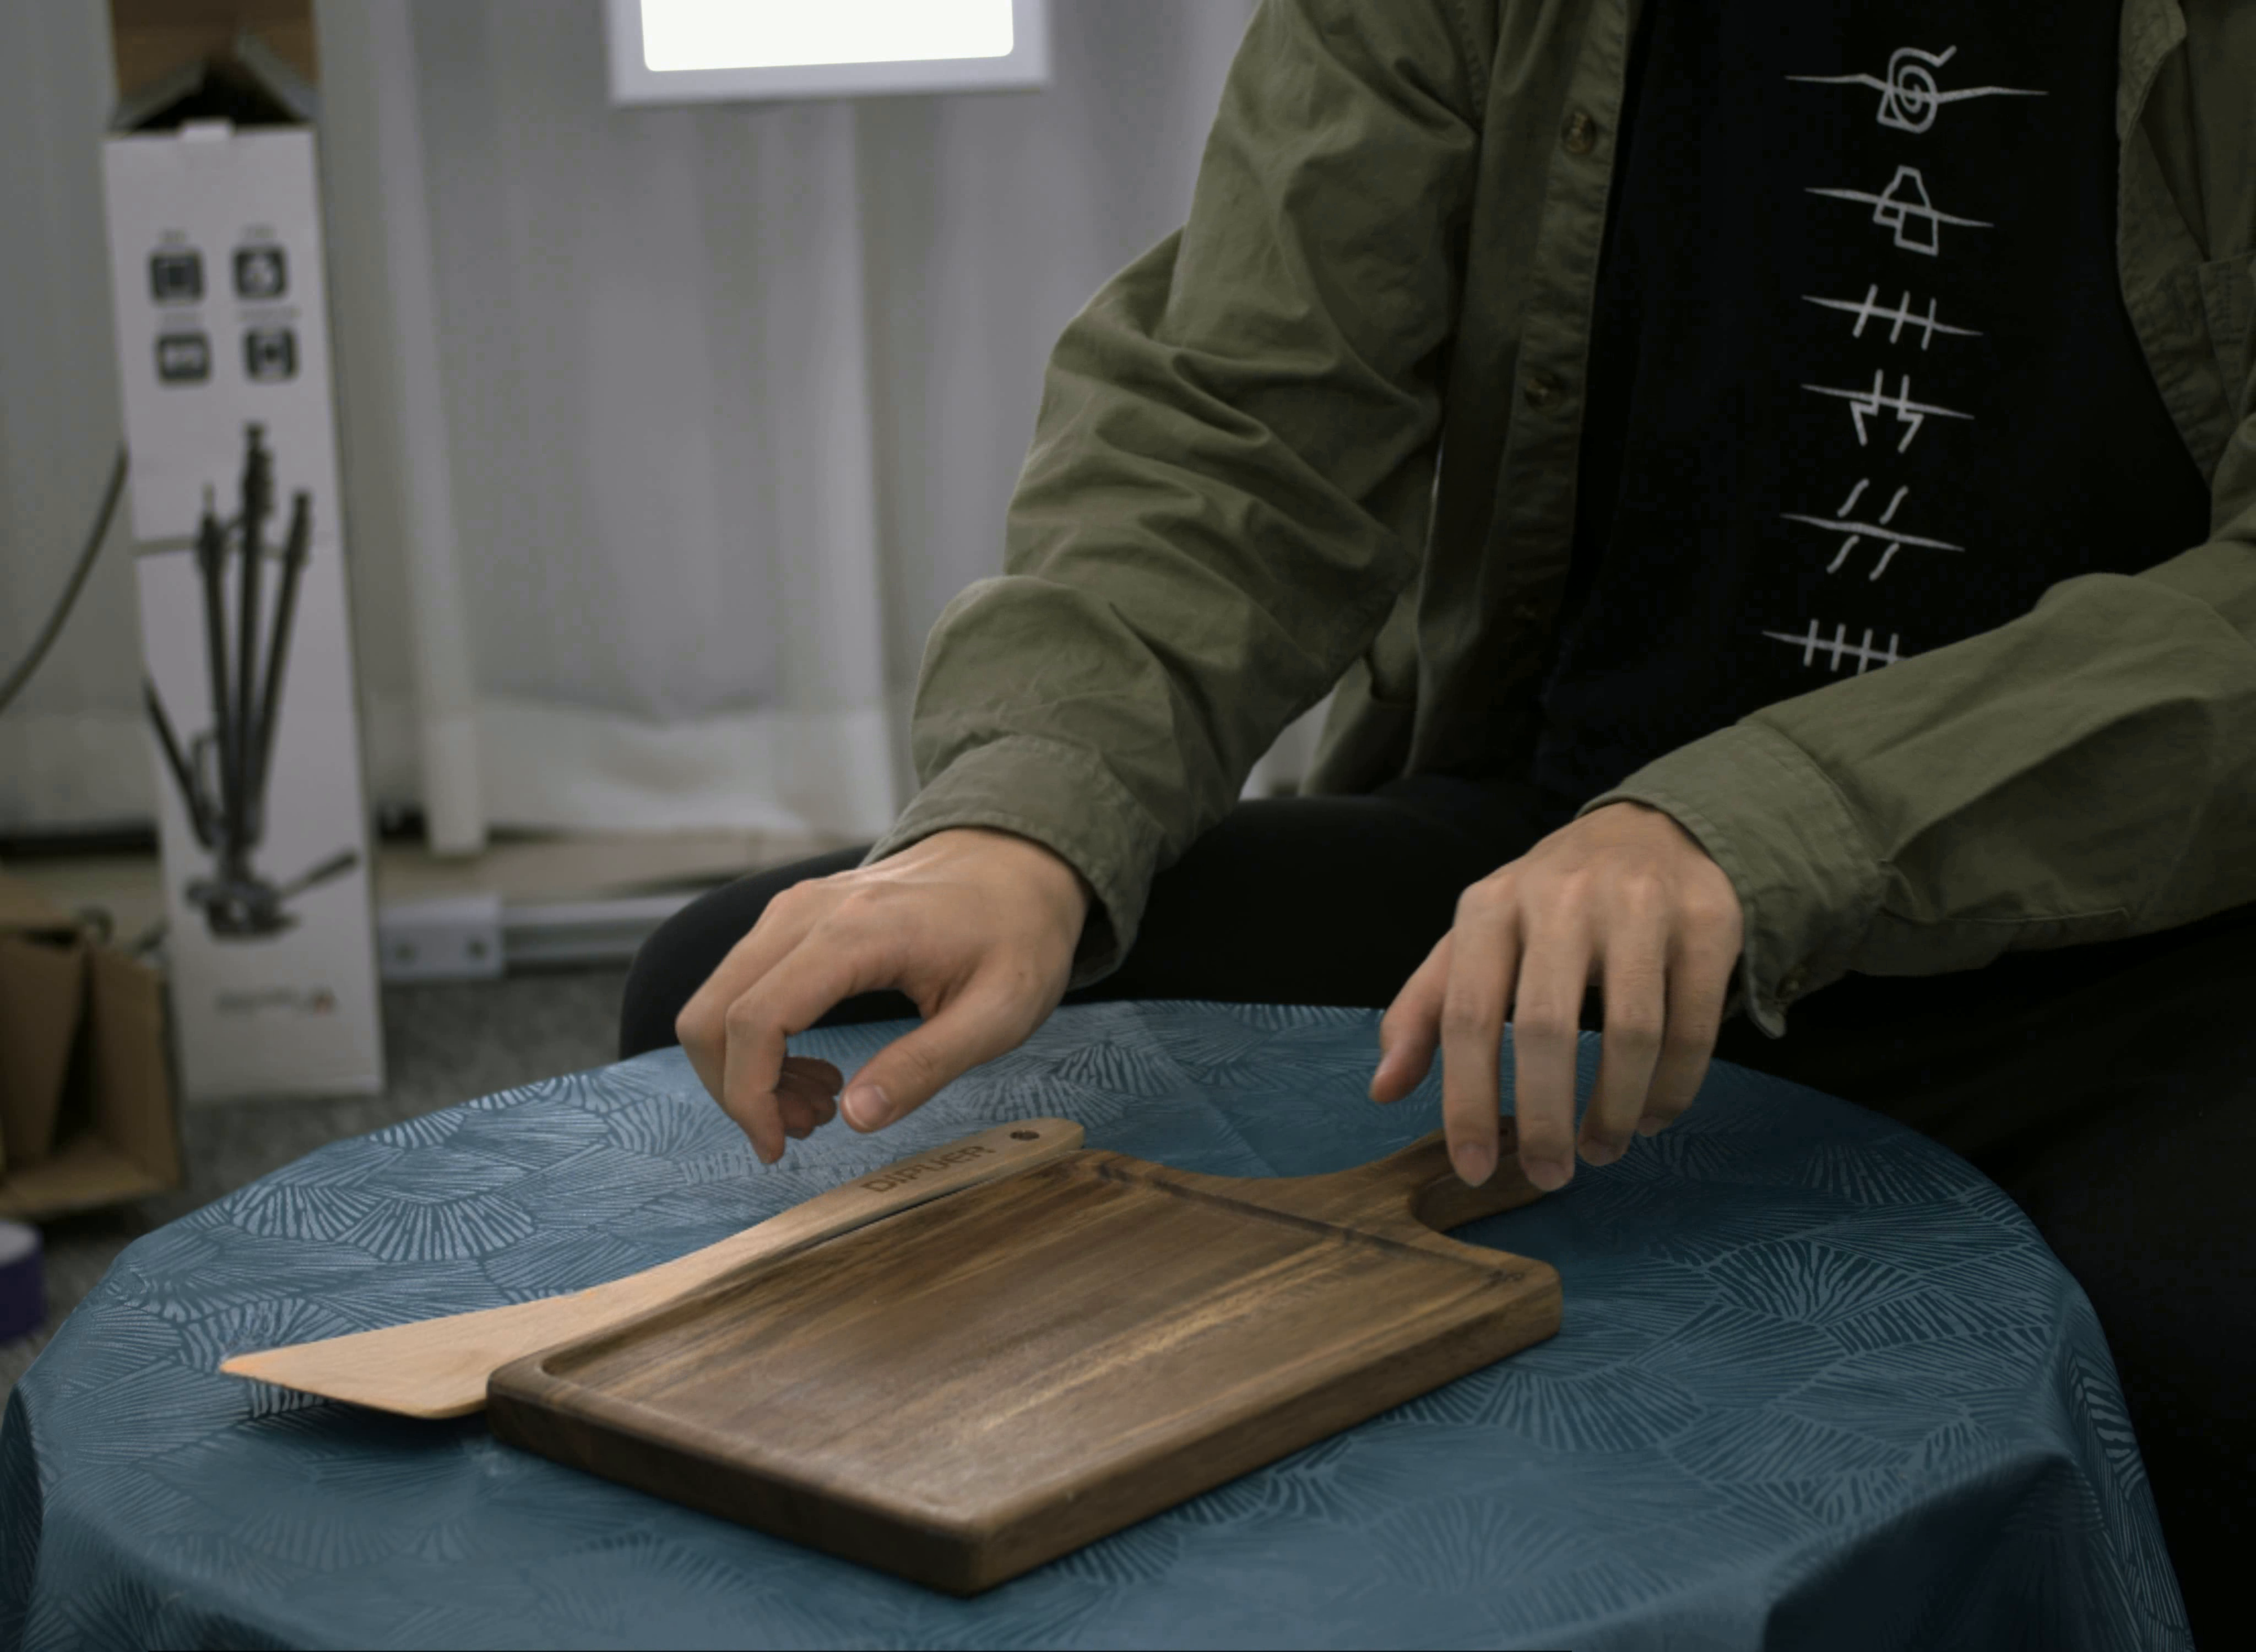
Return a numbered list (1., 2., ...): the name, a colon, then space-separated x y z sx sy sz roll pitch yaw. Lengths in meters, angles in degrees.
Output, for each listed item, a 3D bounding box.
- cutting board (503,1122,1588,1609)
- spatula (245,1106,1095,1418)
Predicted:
1. cutting board: 0.013 0.141 1.576 0.202 0.023 0.351 12 21 43
2. spatula: -0.120 0.128 1.657 0.080 0.016 0.327 10 20 40
